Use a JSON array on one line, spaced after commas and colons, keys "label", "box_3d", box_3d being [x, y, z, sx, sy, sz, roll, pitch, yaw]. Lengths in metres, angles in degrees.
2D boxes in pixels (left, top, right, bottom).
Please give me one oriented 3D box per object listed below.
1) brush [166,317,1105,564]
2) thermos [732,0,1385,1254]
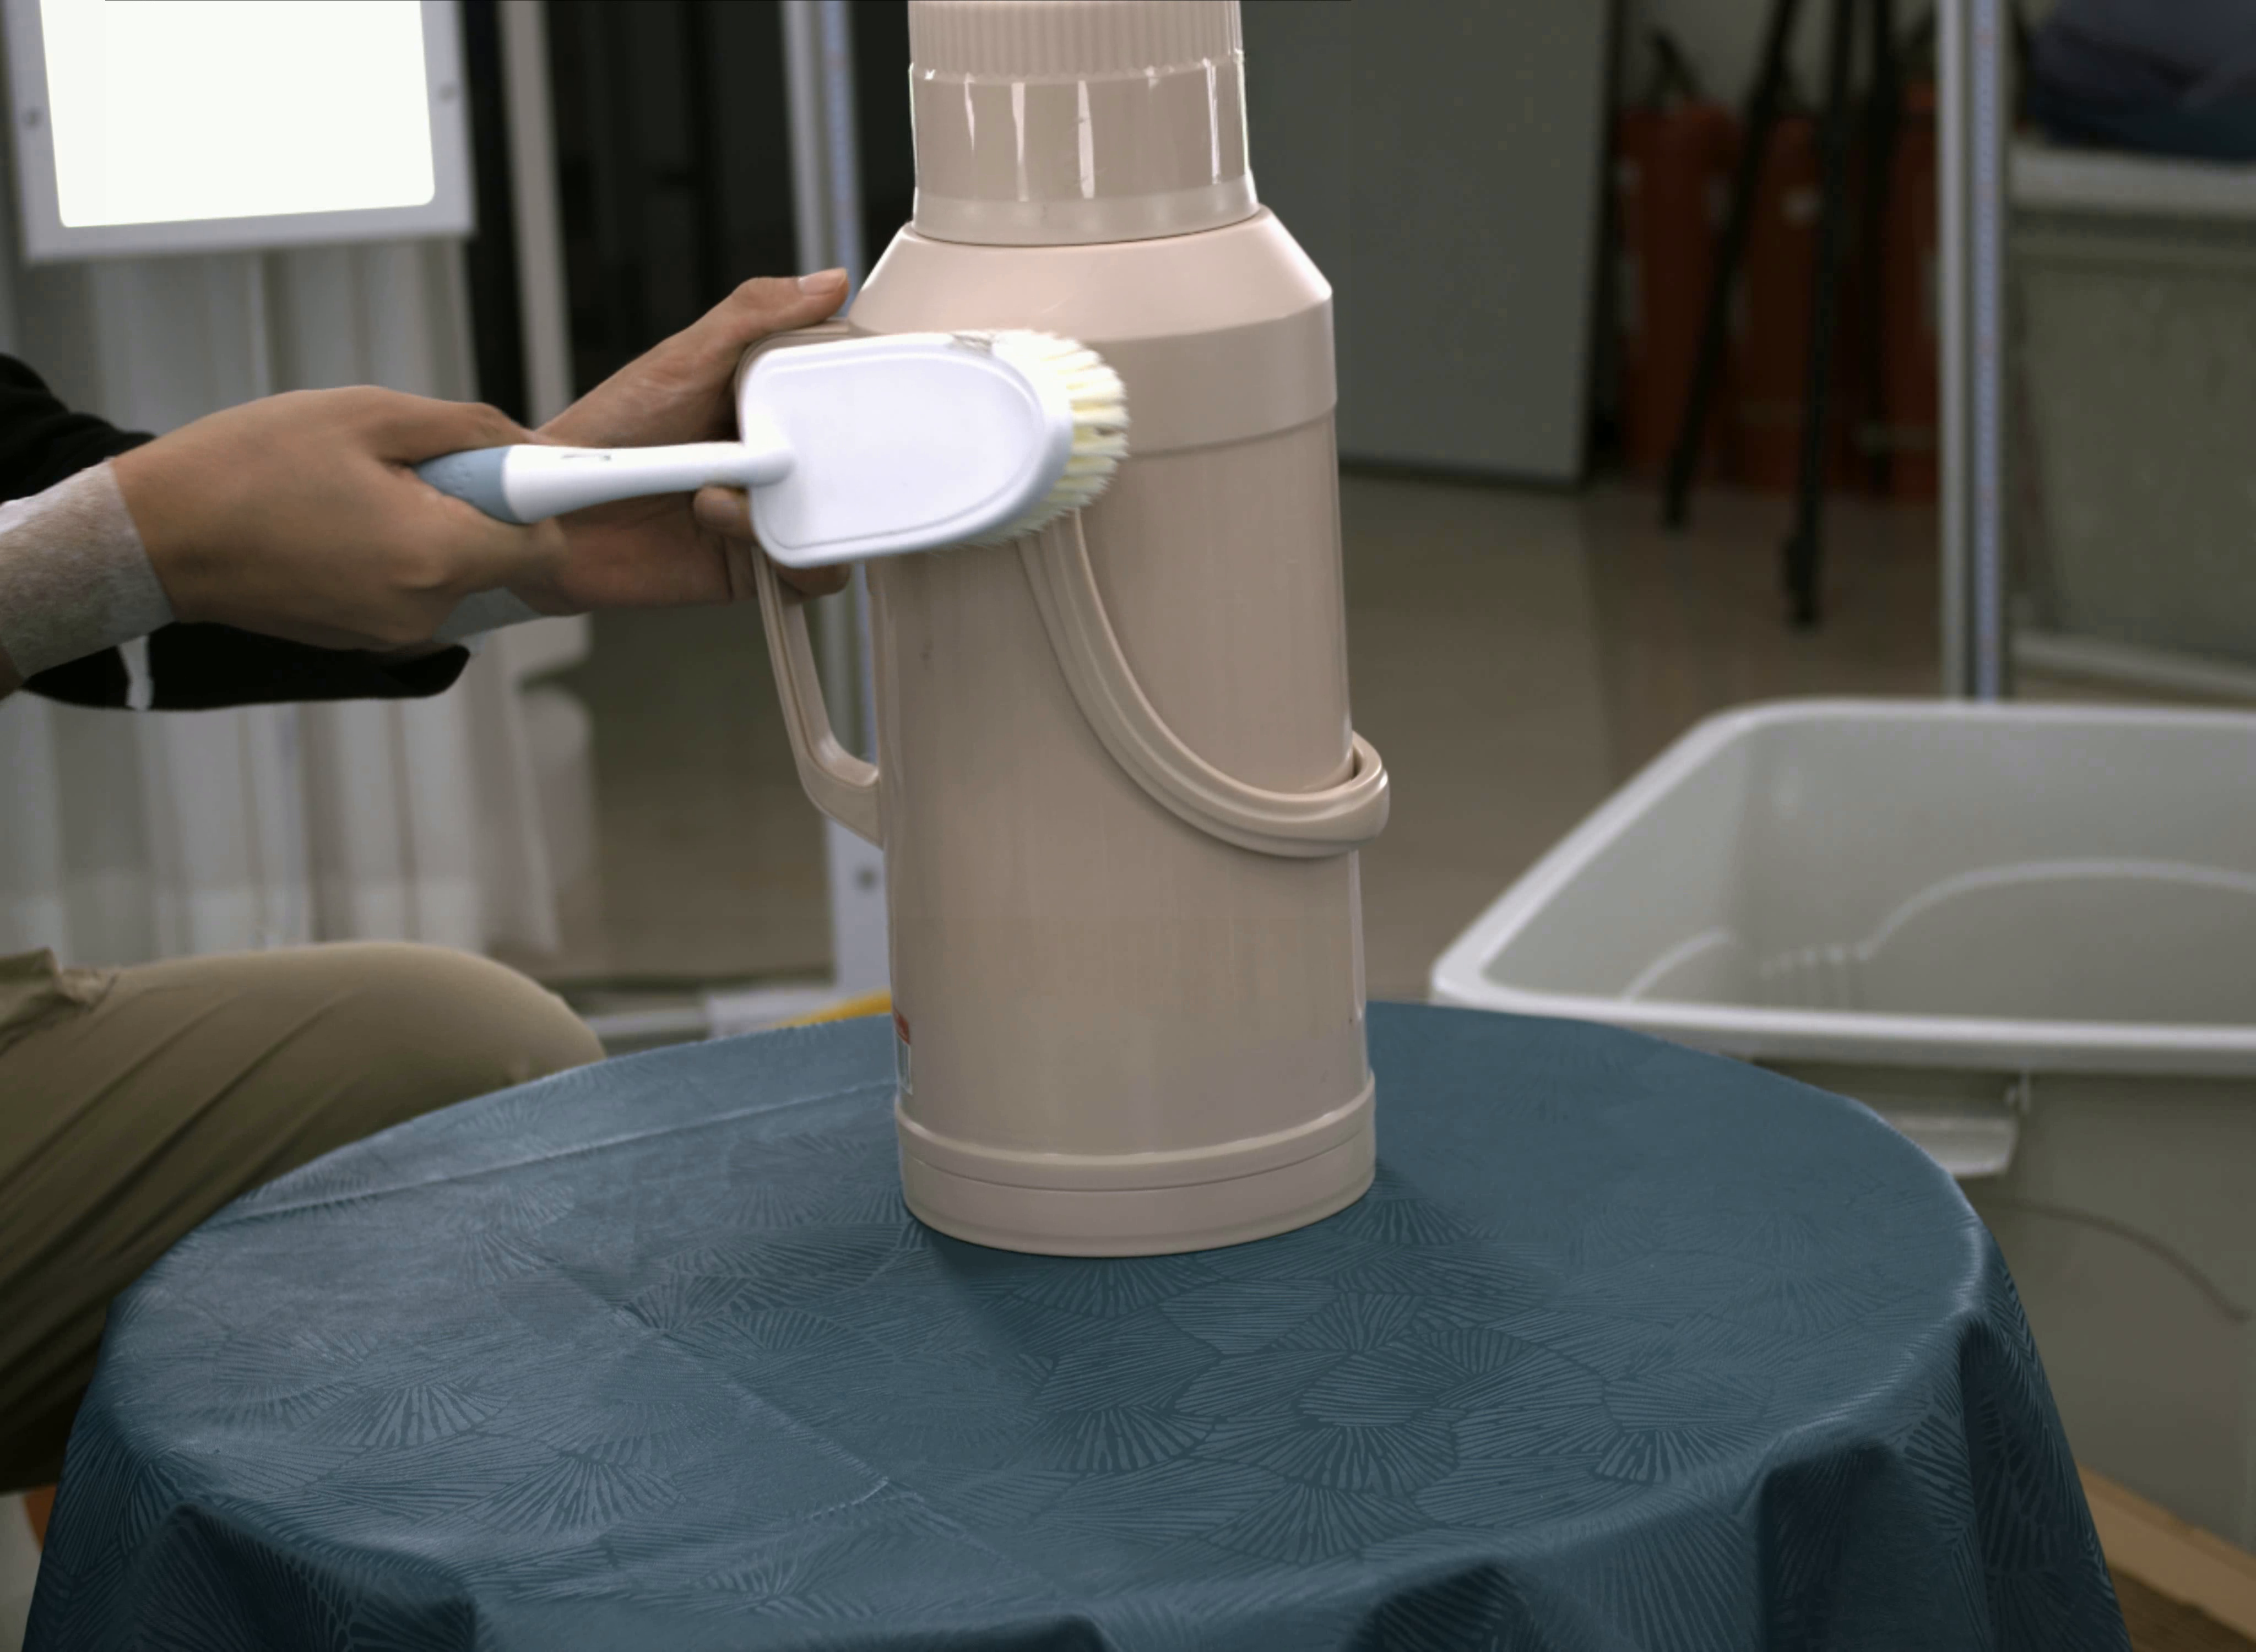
[{"label": "brush", "box_3d": [-0.149, -0.115, 1.674, 0.326, 0.084, 0.083, -5, 52, 27]}, {"label": "thermos", "box_3d": [-0.021, -0.077, 1.742, 0.206, 0.411, 0.174, 0, 15, 13]}]
